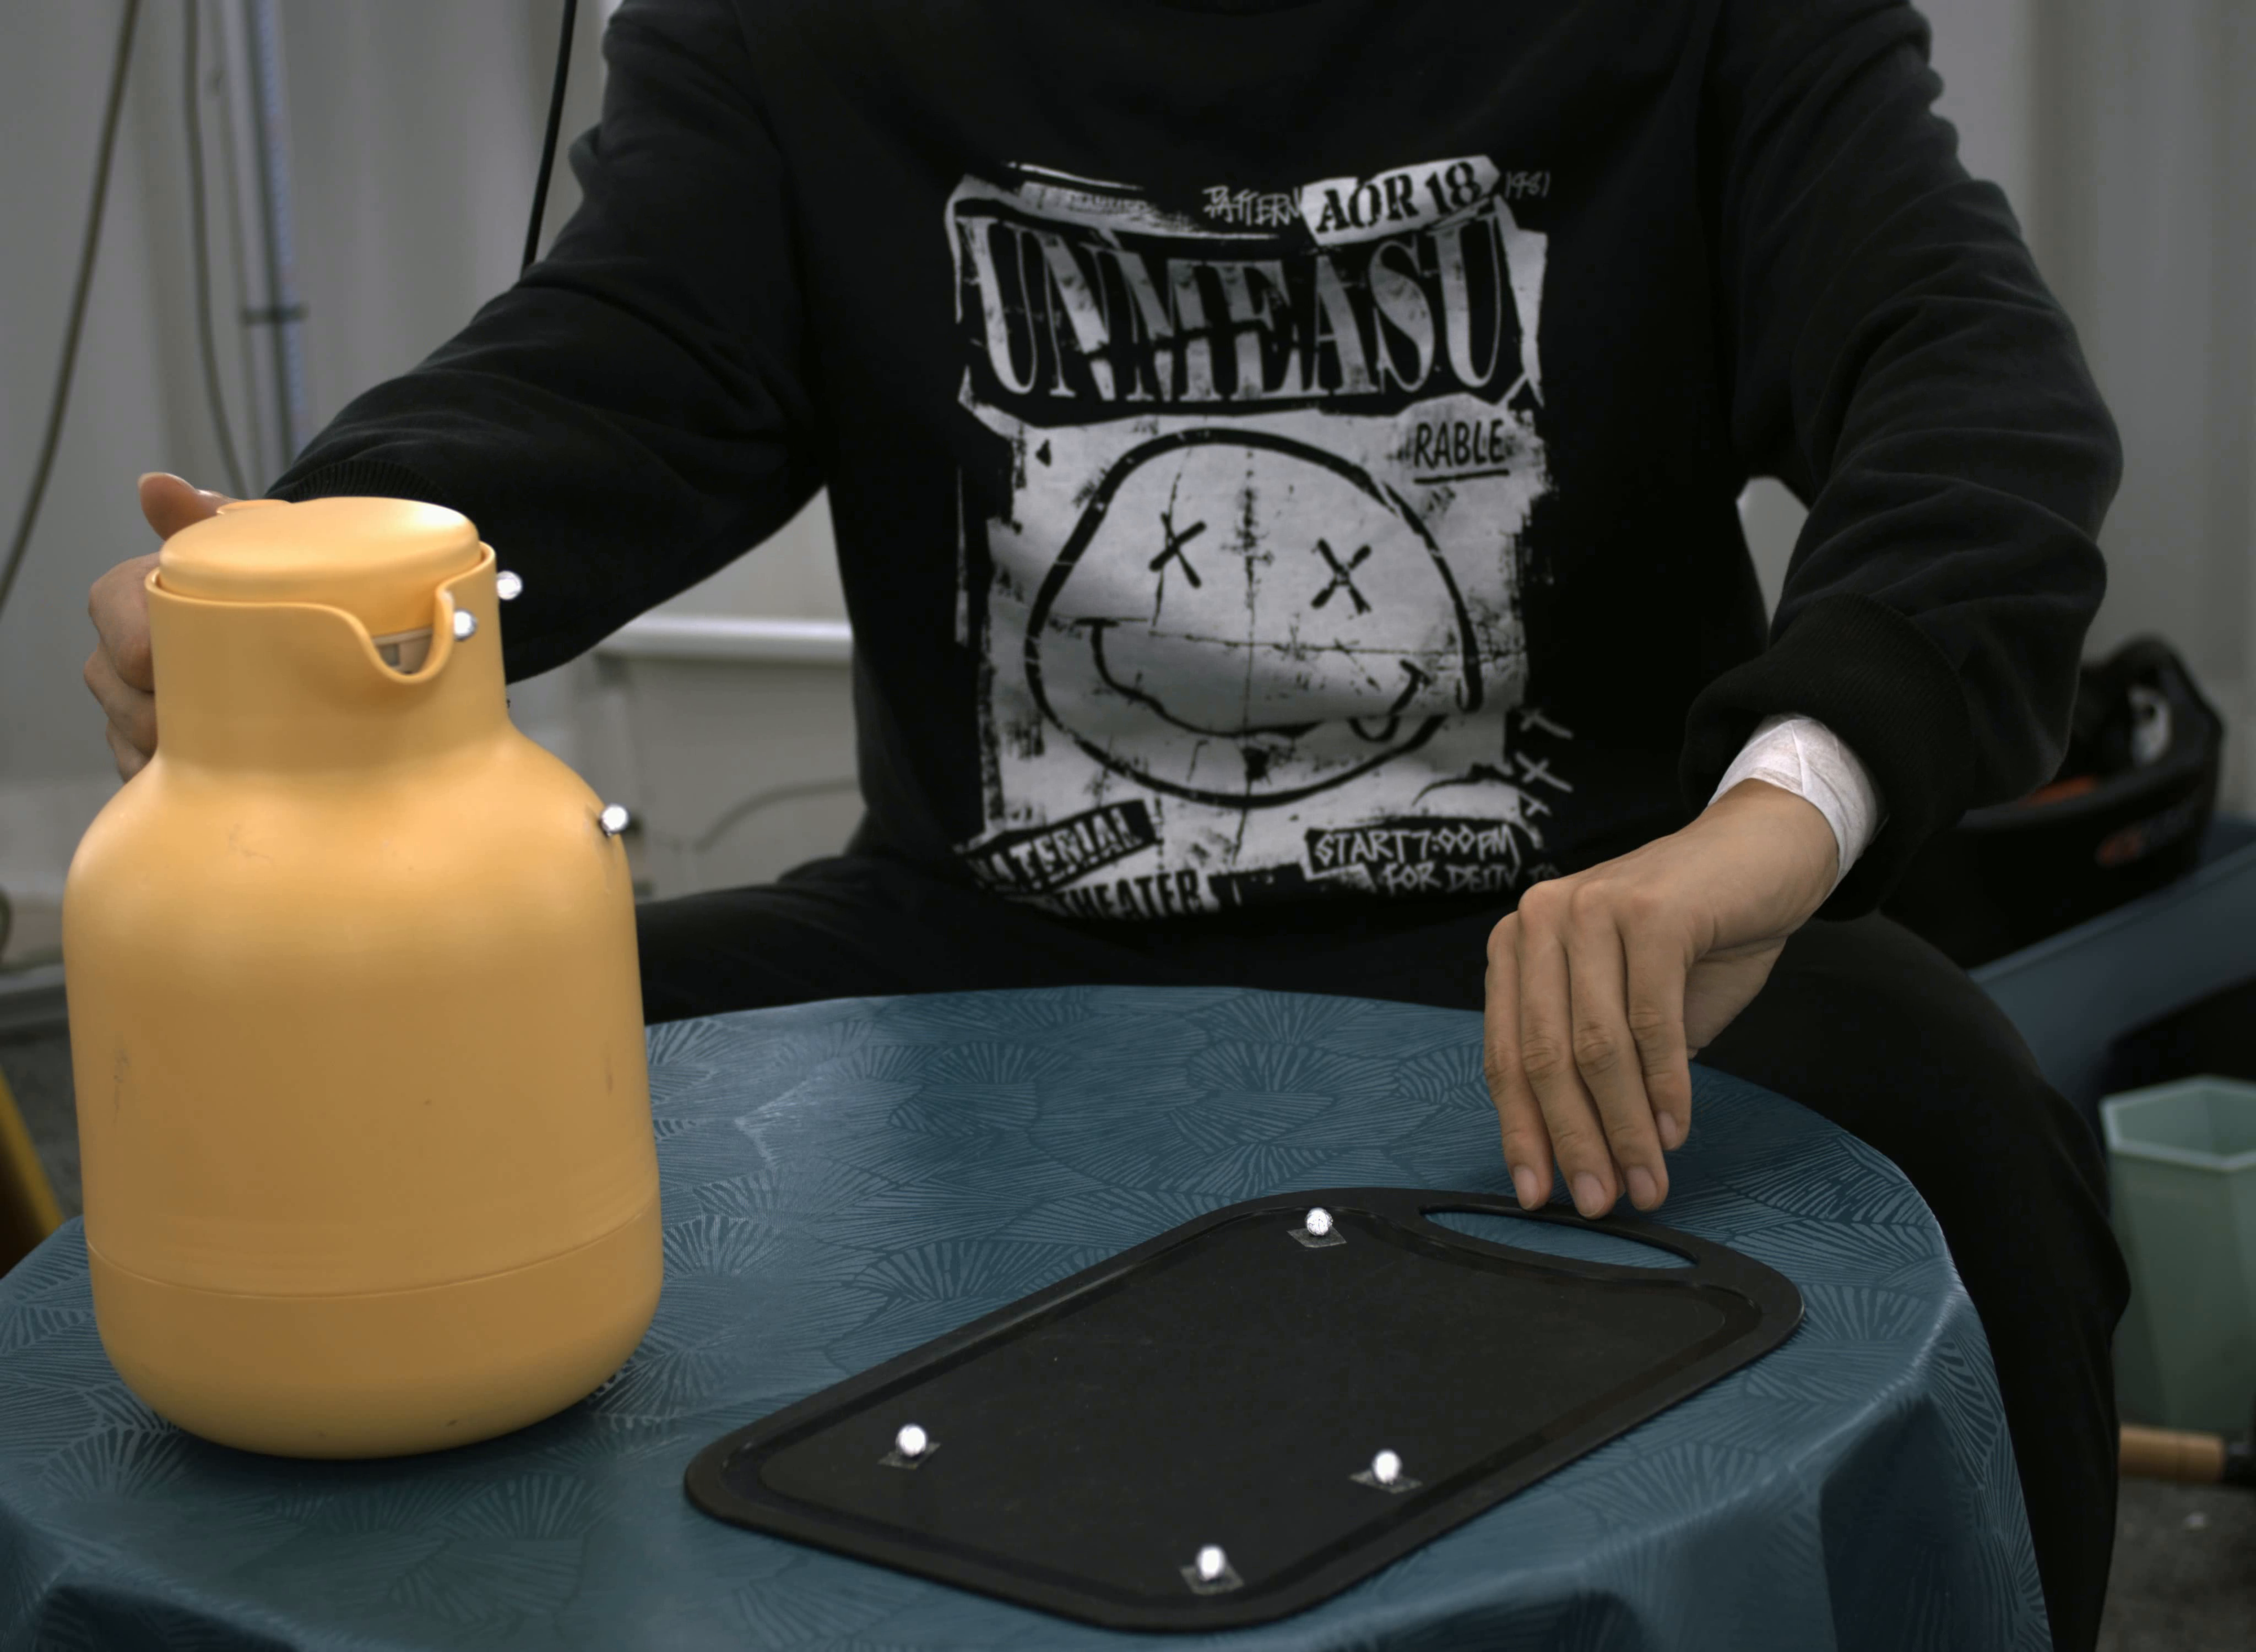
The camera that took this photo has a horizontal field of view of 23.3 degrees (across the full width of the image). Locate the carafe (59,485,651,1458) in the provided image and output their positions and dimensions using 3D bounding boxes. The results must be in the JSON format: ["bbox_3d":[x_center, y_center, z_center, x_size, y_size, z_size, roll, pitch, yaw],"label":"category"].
[{"bbox_3d":[-0.226,0.032,1.562,0.162,0.259,0.204,-6,16,-24],"label":"carafe"}]

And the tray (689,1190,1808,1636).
[{"bbox_3d":[0.043,0.155,1.541,0.212,0.010,0.325,10,19,39],"label":"tray"}]
